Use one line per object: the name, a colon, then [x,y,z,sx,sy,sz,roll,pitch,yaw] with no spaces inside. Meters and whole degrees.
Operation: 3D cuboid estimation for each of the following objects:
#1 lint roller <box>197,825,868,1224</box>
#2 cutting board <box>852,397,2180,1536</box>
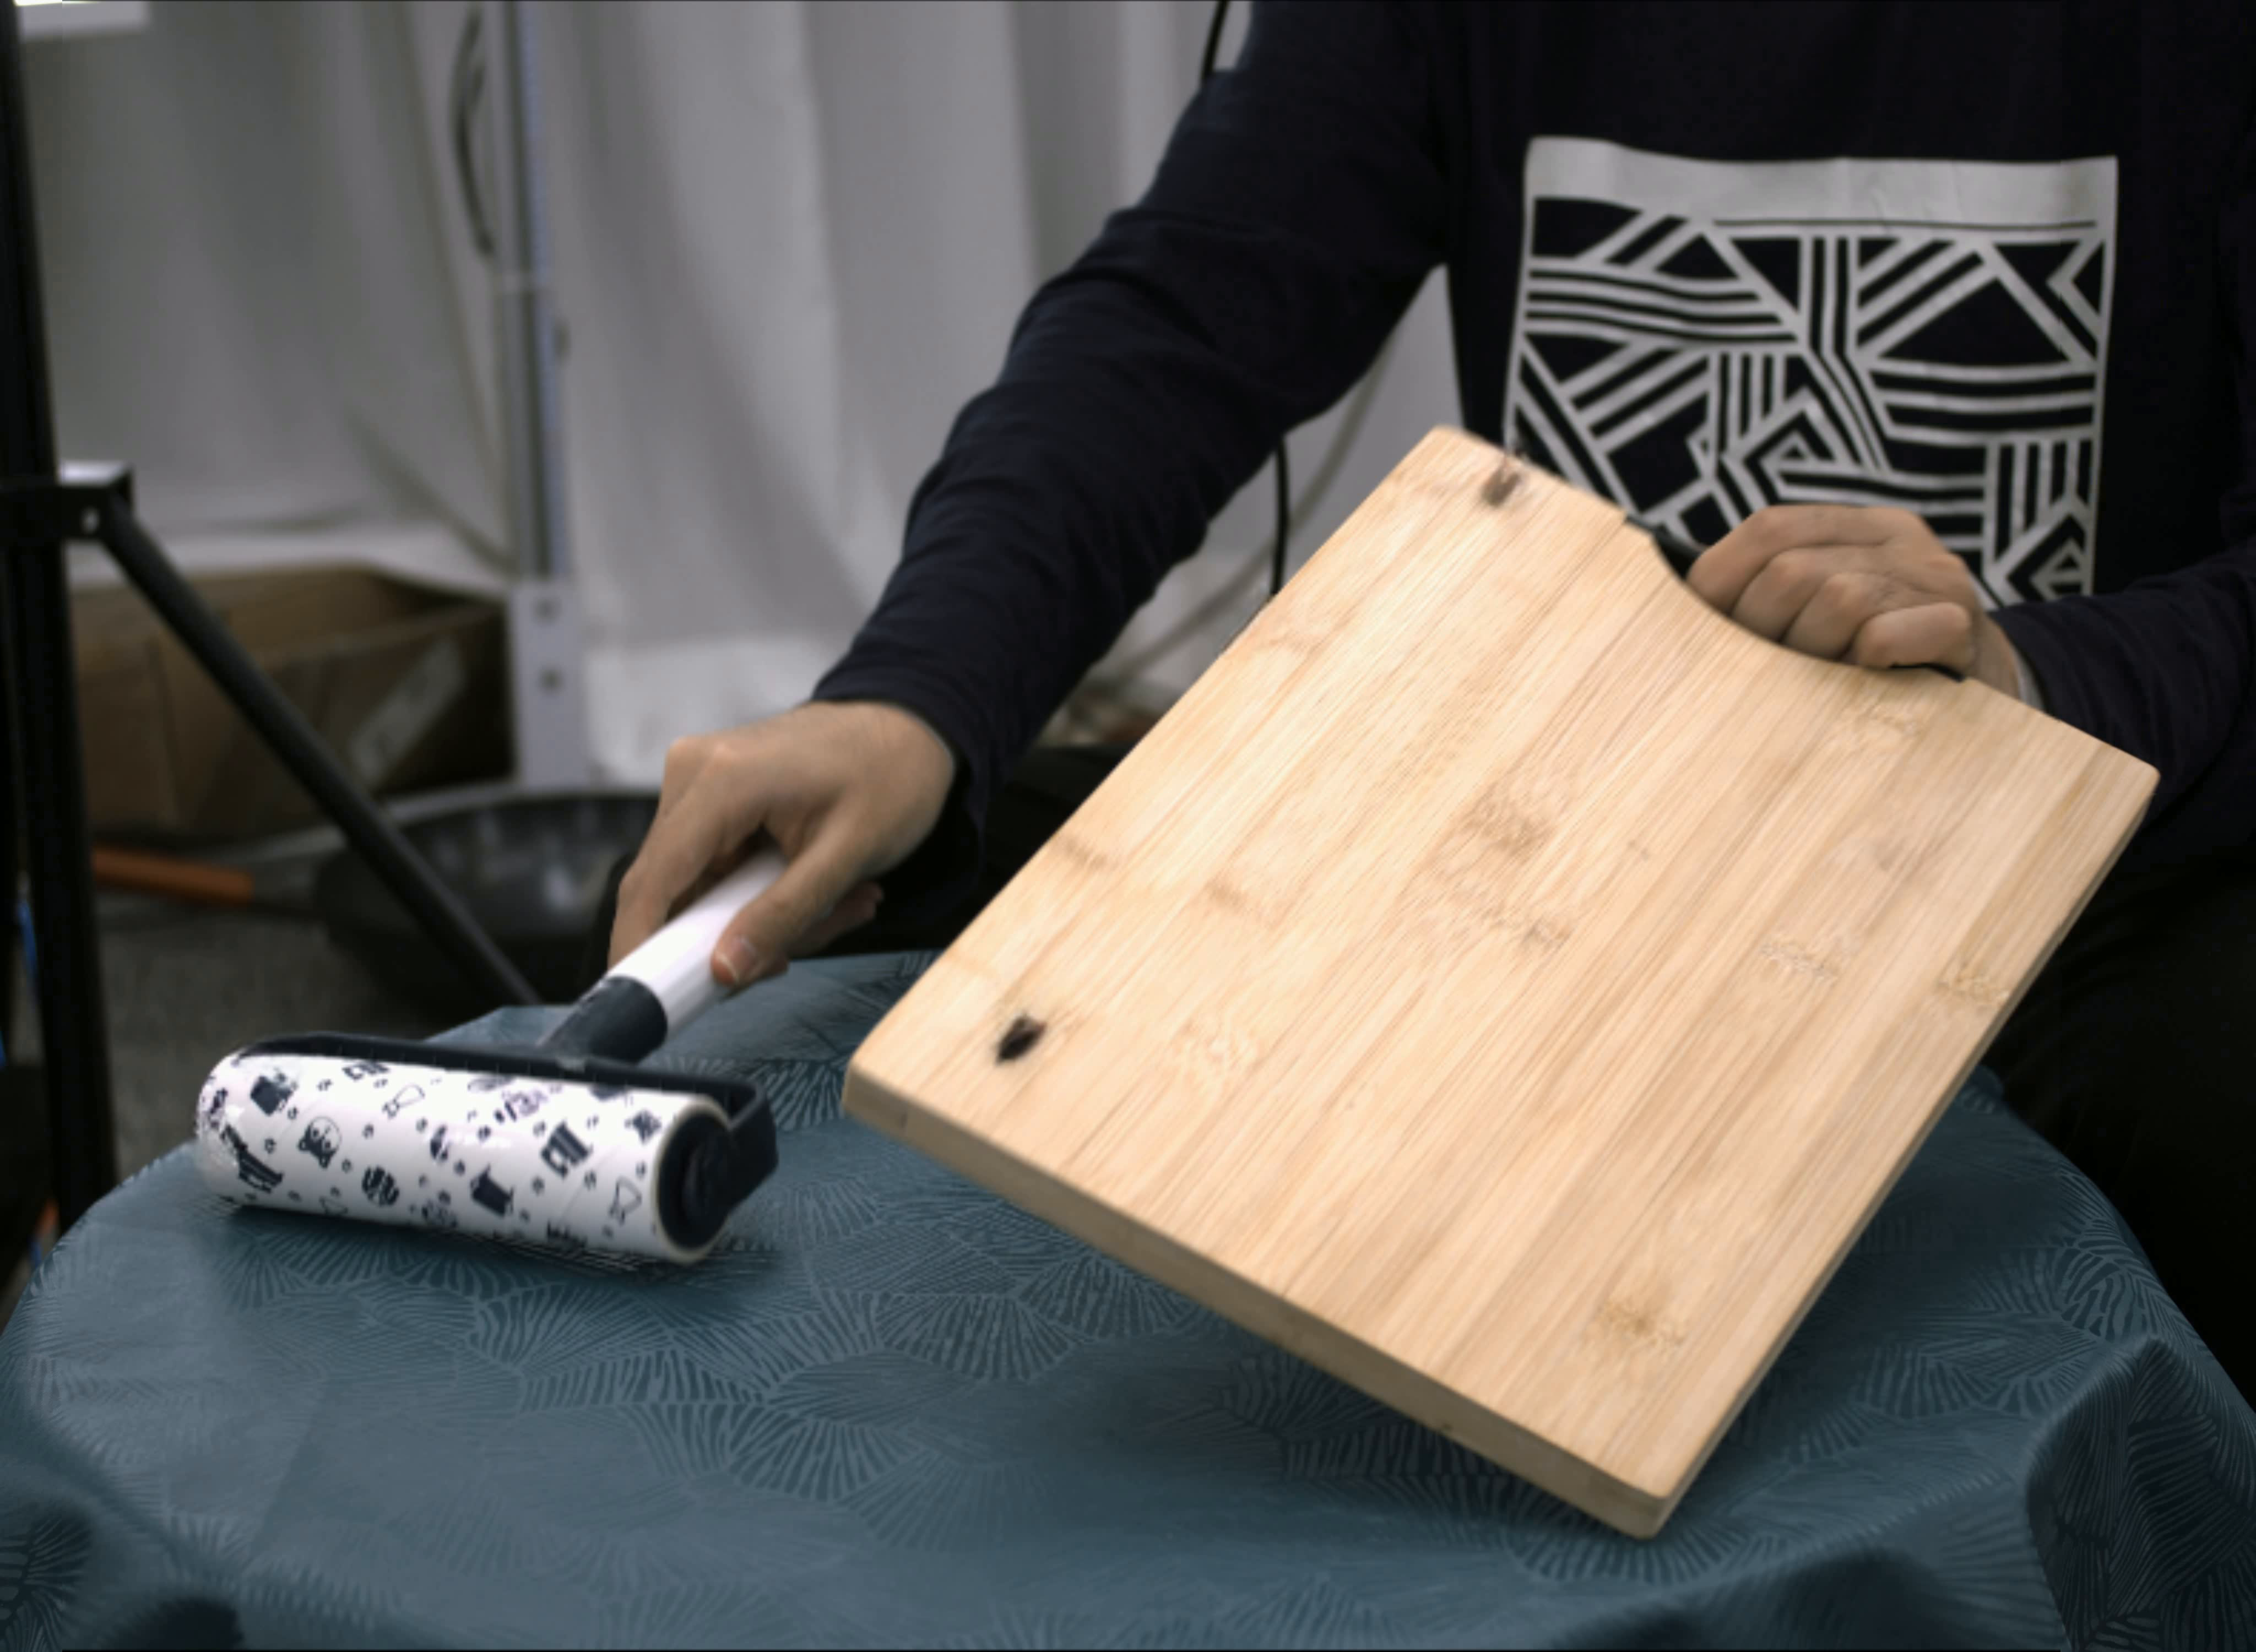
lint roller: [-0.148,0.049,1.627,0.179,0.050,0.244,1,24,29]
cutting board: [0.115,0.024,1.445,0.253,0.023,0.345,28,45,16]
